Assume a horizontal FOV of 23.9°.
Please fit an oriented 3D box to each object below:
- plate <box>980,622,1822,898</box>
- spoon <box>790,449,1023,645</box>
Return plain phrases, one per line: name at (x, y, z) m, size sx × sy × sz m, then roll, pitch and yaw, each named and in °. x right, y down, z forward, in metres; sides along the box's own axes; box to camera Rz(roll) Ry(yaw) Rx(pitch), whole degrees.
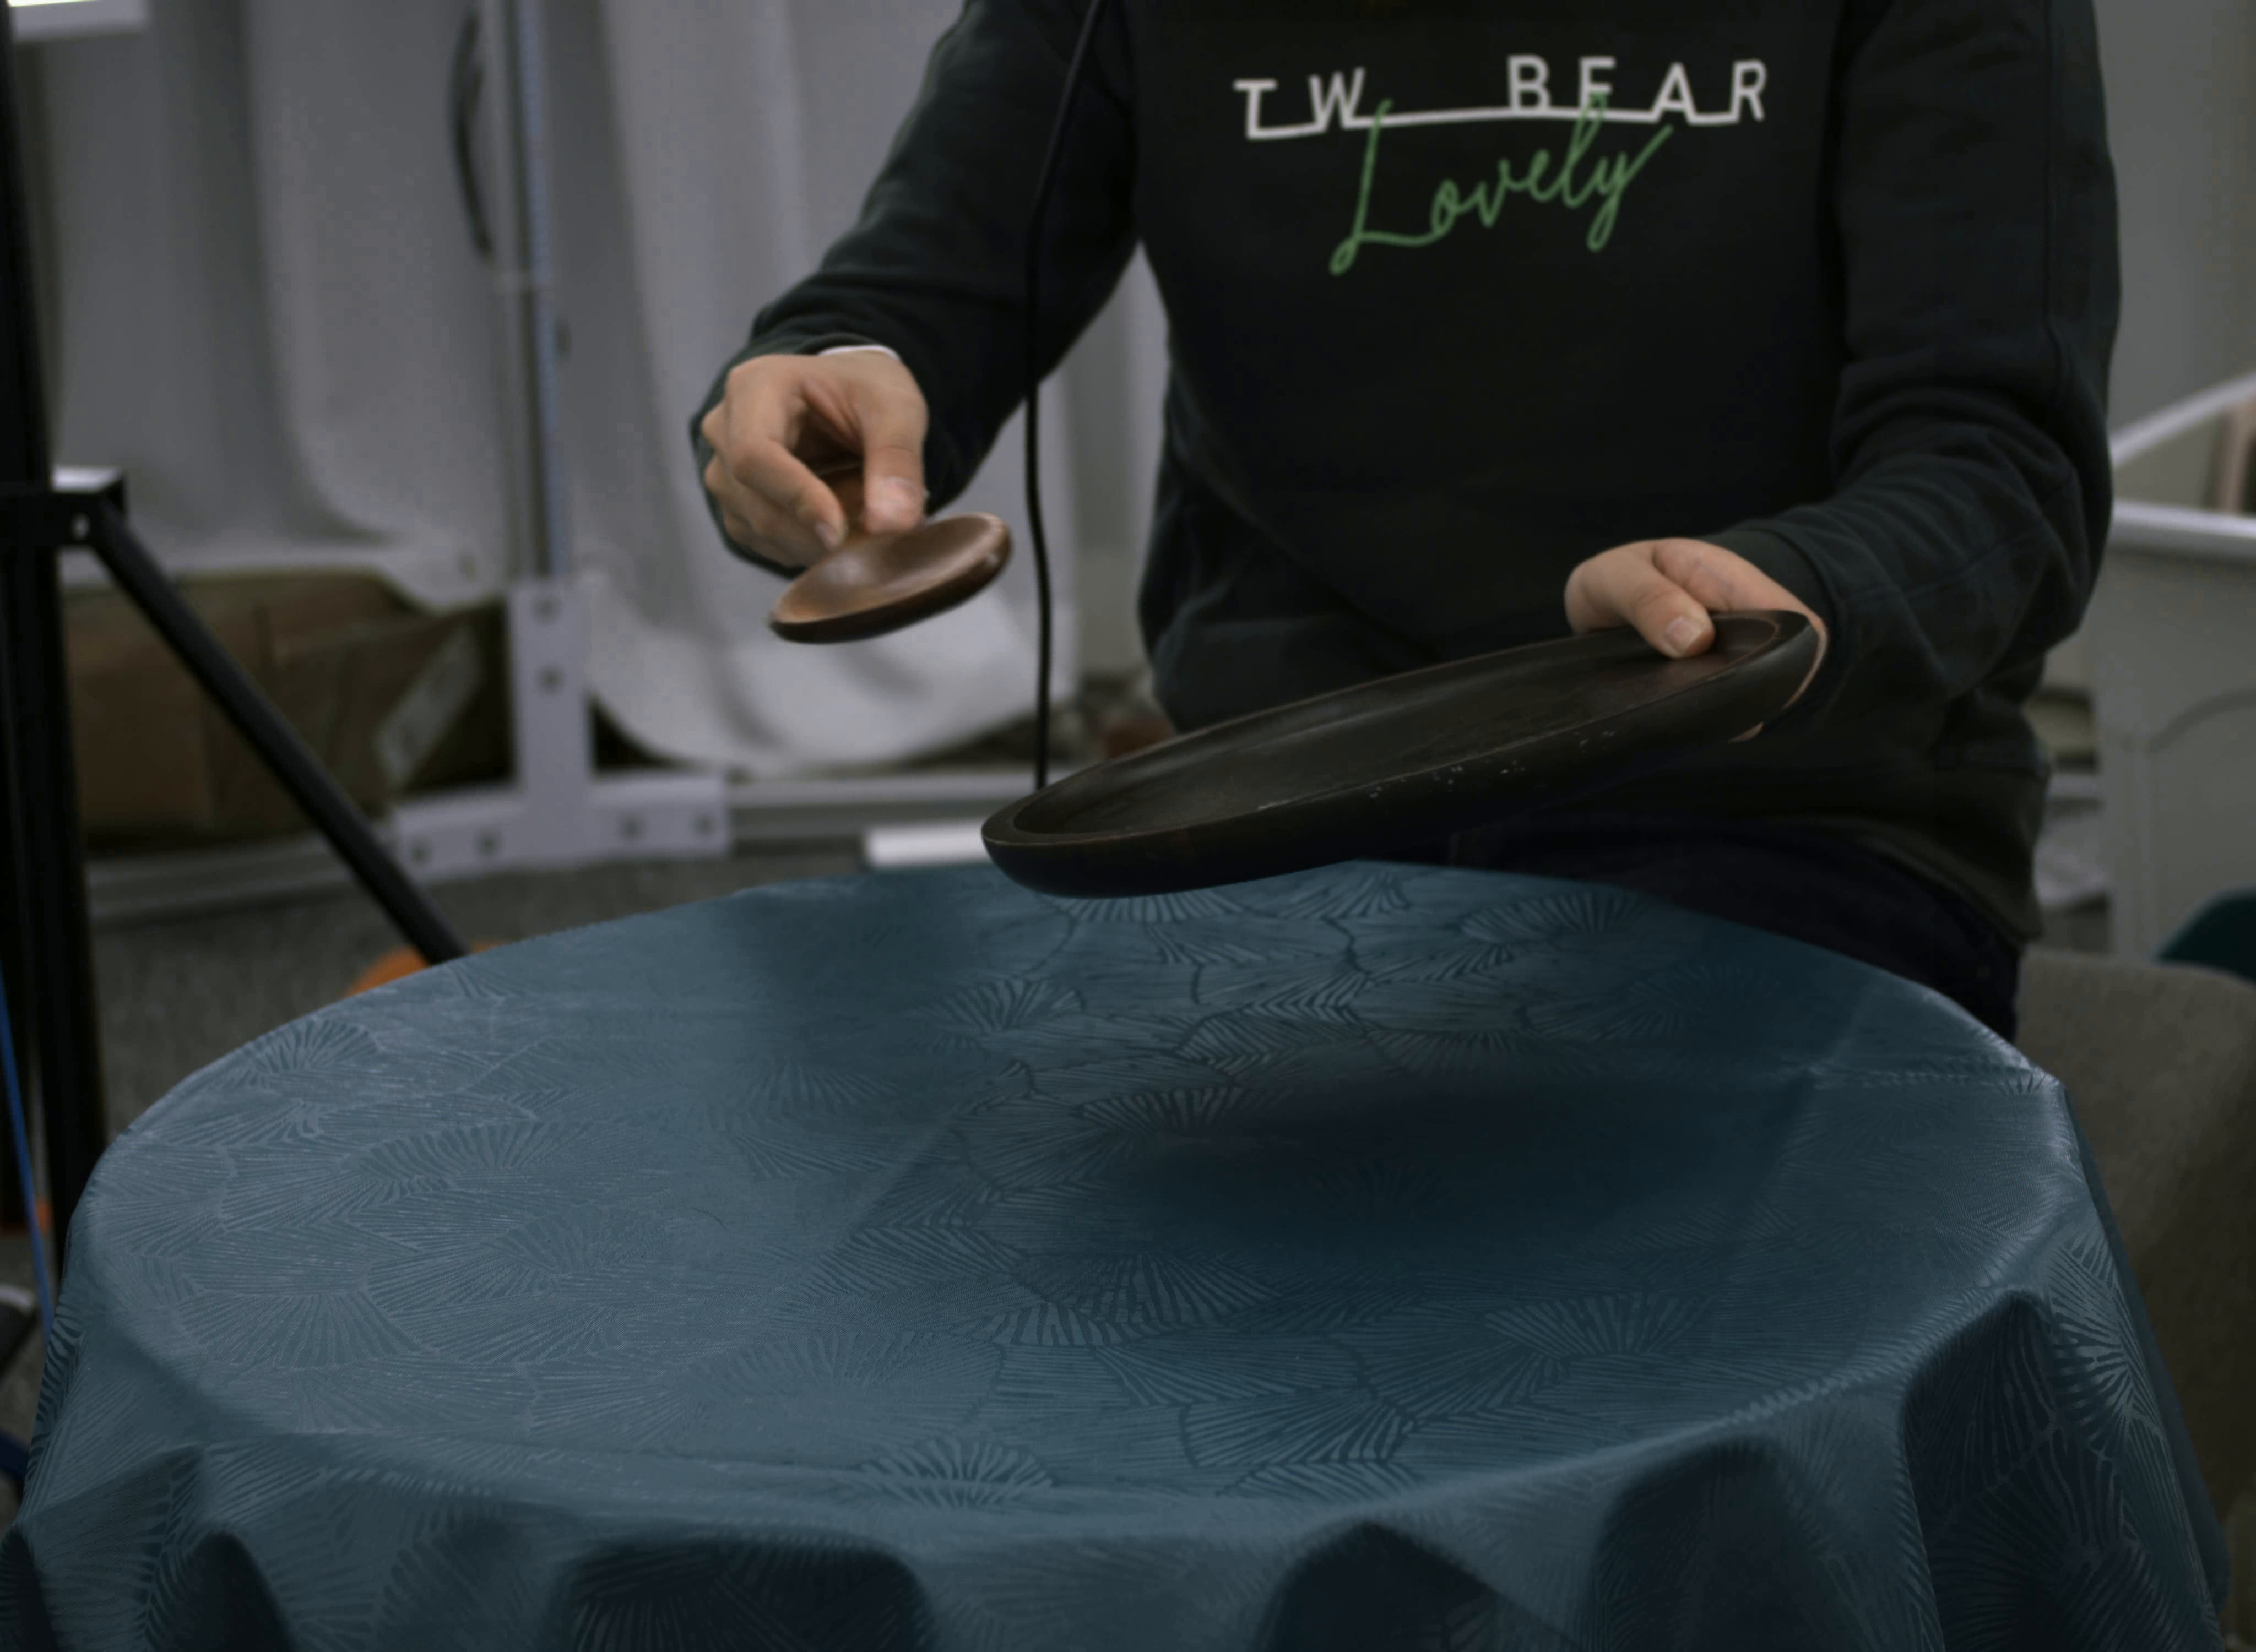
plate at (0.081, -0.020, 1.566) m, size 0.254 × 0.029 × 0.255 m, roll -14°, pitch 8°, yaw 0°
spoon at (-0.075, -0.088, 1.646) m, size 0.075 × 0.017 × 0.218 m, roll -24°, pitch 18°, yaw -3°
